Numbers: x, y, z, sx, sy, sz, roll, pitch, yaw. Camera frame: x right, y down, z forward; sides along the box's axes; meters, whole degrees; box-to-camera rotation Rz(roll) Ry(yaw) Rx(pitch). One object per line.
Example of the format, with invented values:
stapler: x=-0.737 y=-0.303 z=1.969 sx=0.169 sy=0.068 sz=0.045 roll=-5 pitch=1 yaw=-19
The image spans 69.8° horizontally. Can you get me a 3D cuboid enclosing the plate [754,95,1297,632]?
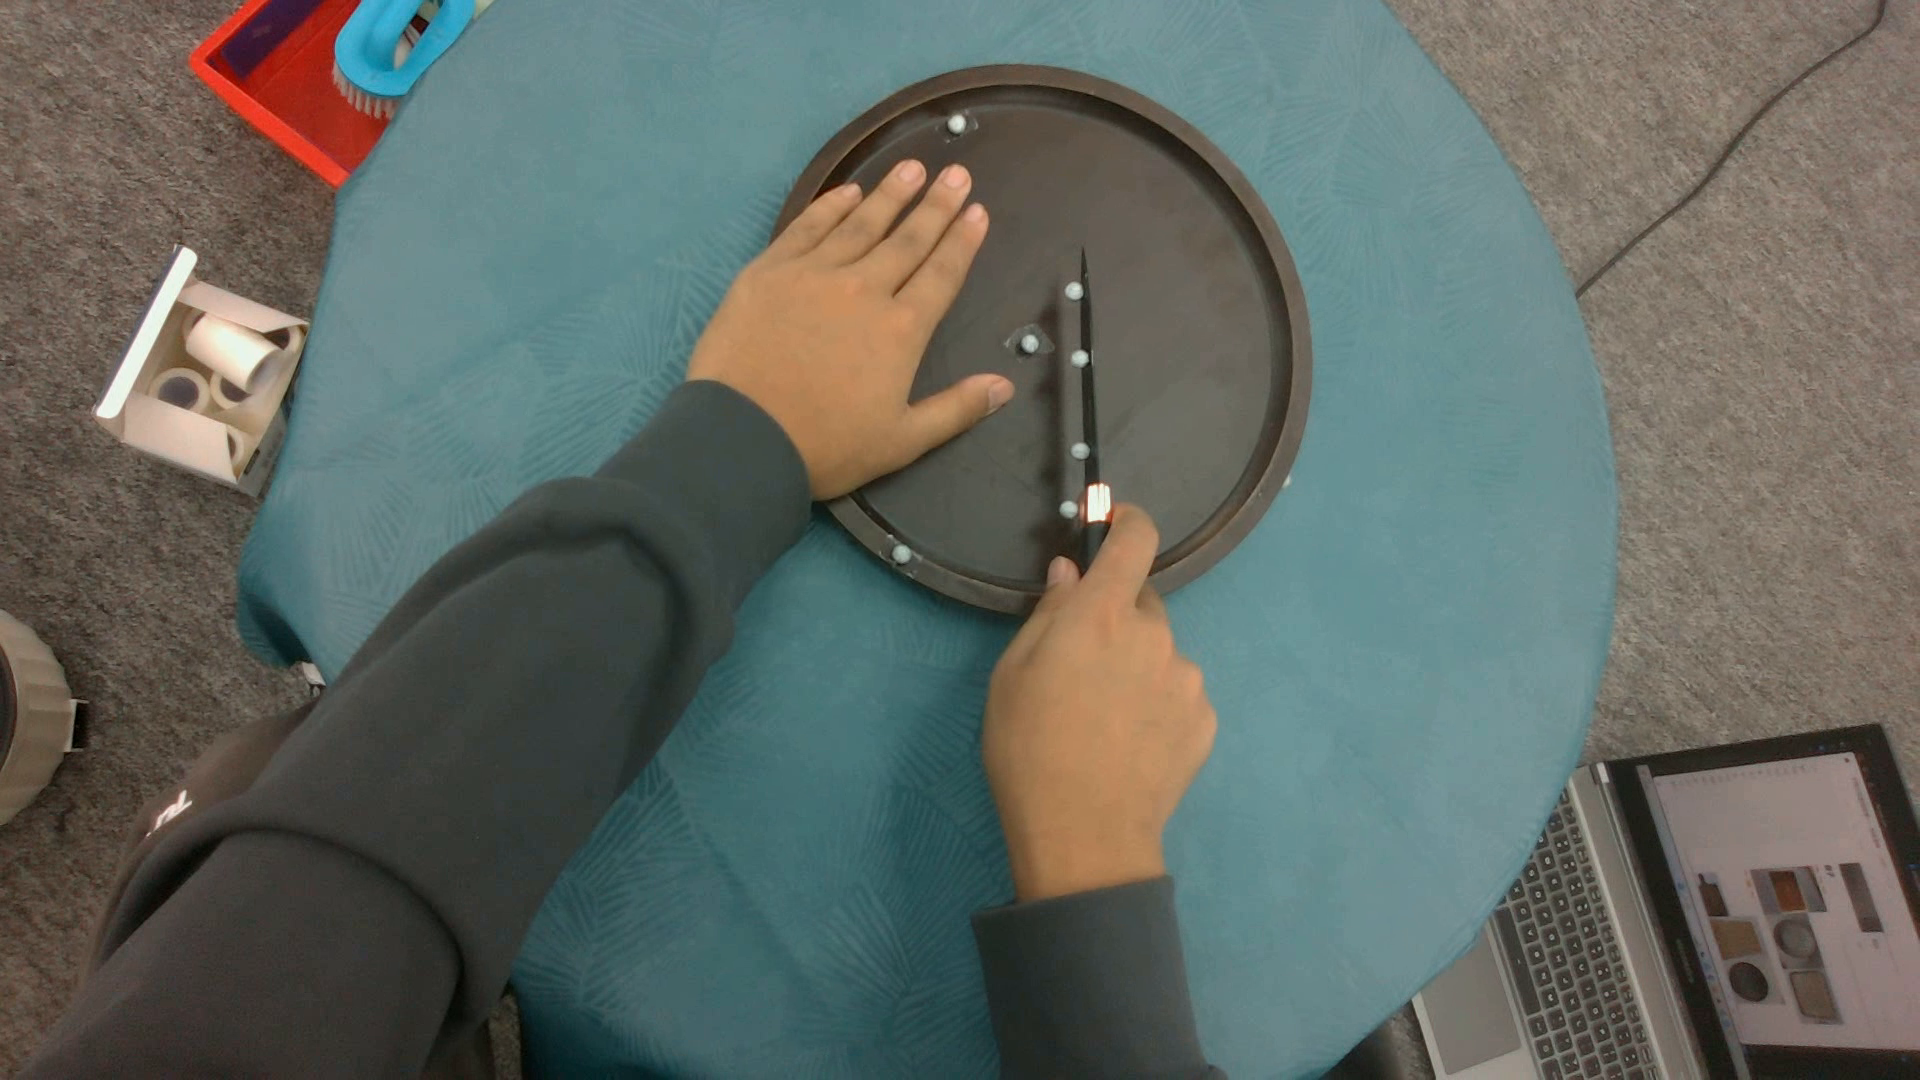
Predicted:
plate: x=0.033 y=-0.083 z=0.628 sx=0.255 sy=0.029 sz=0.255 roll=2 pitch=79 yaw=-11

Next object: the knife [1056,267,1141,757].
knife: x=0.057 y=-0.019 z=0.595 sx=0.017 sy=0.026 sz=0.226 roll=-4 pitch=74 yaw=-6
